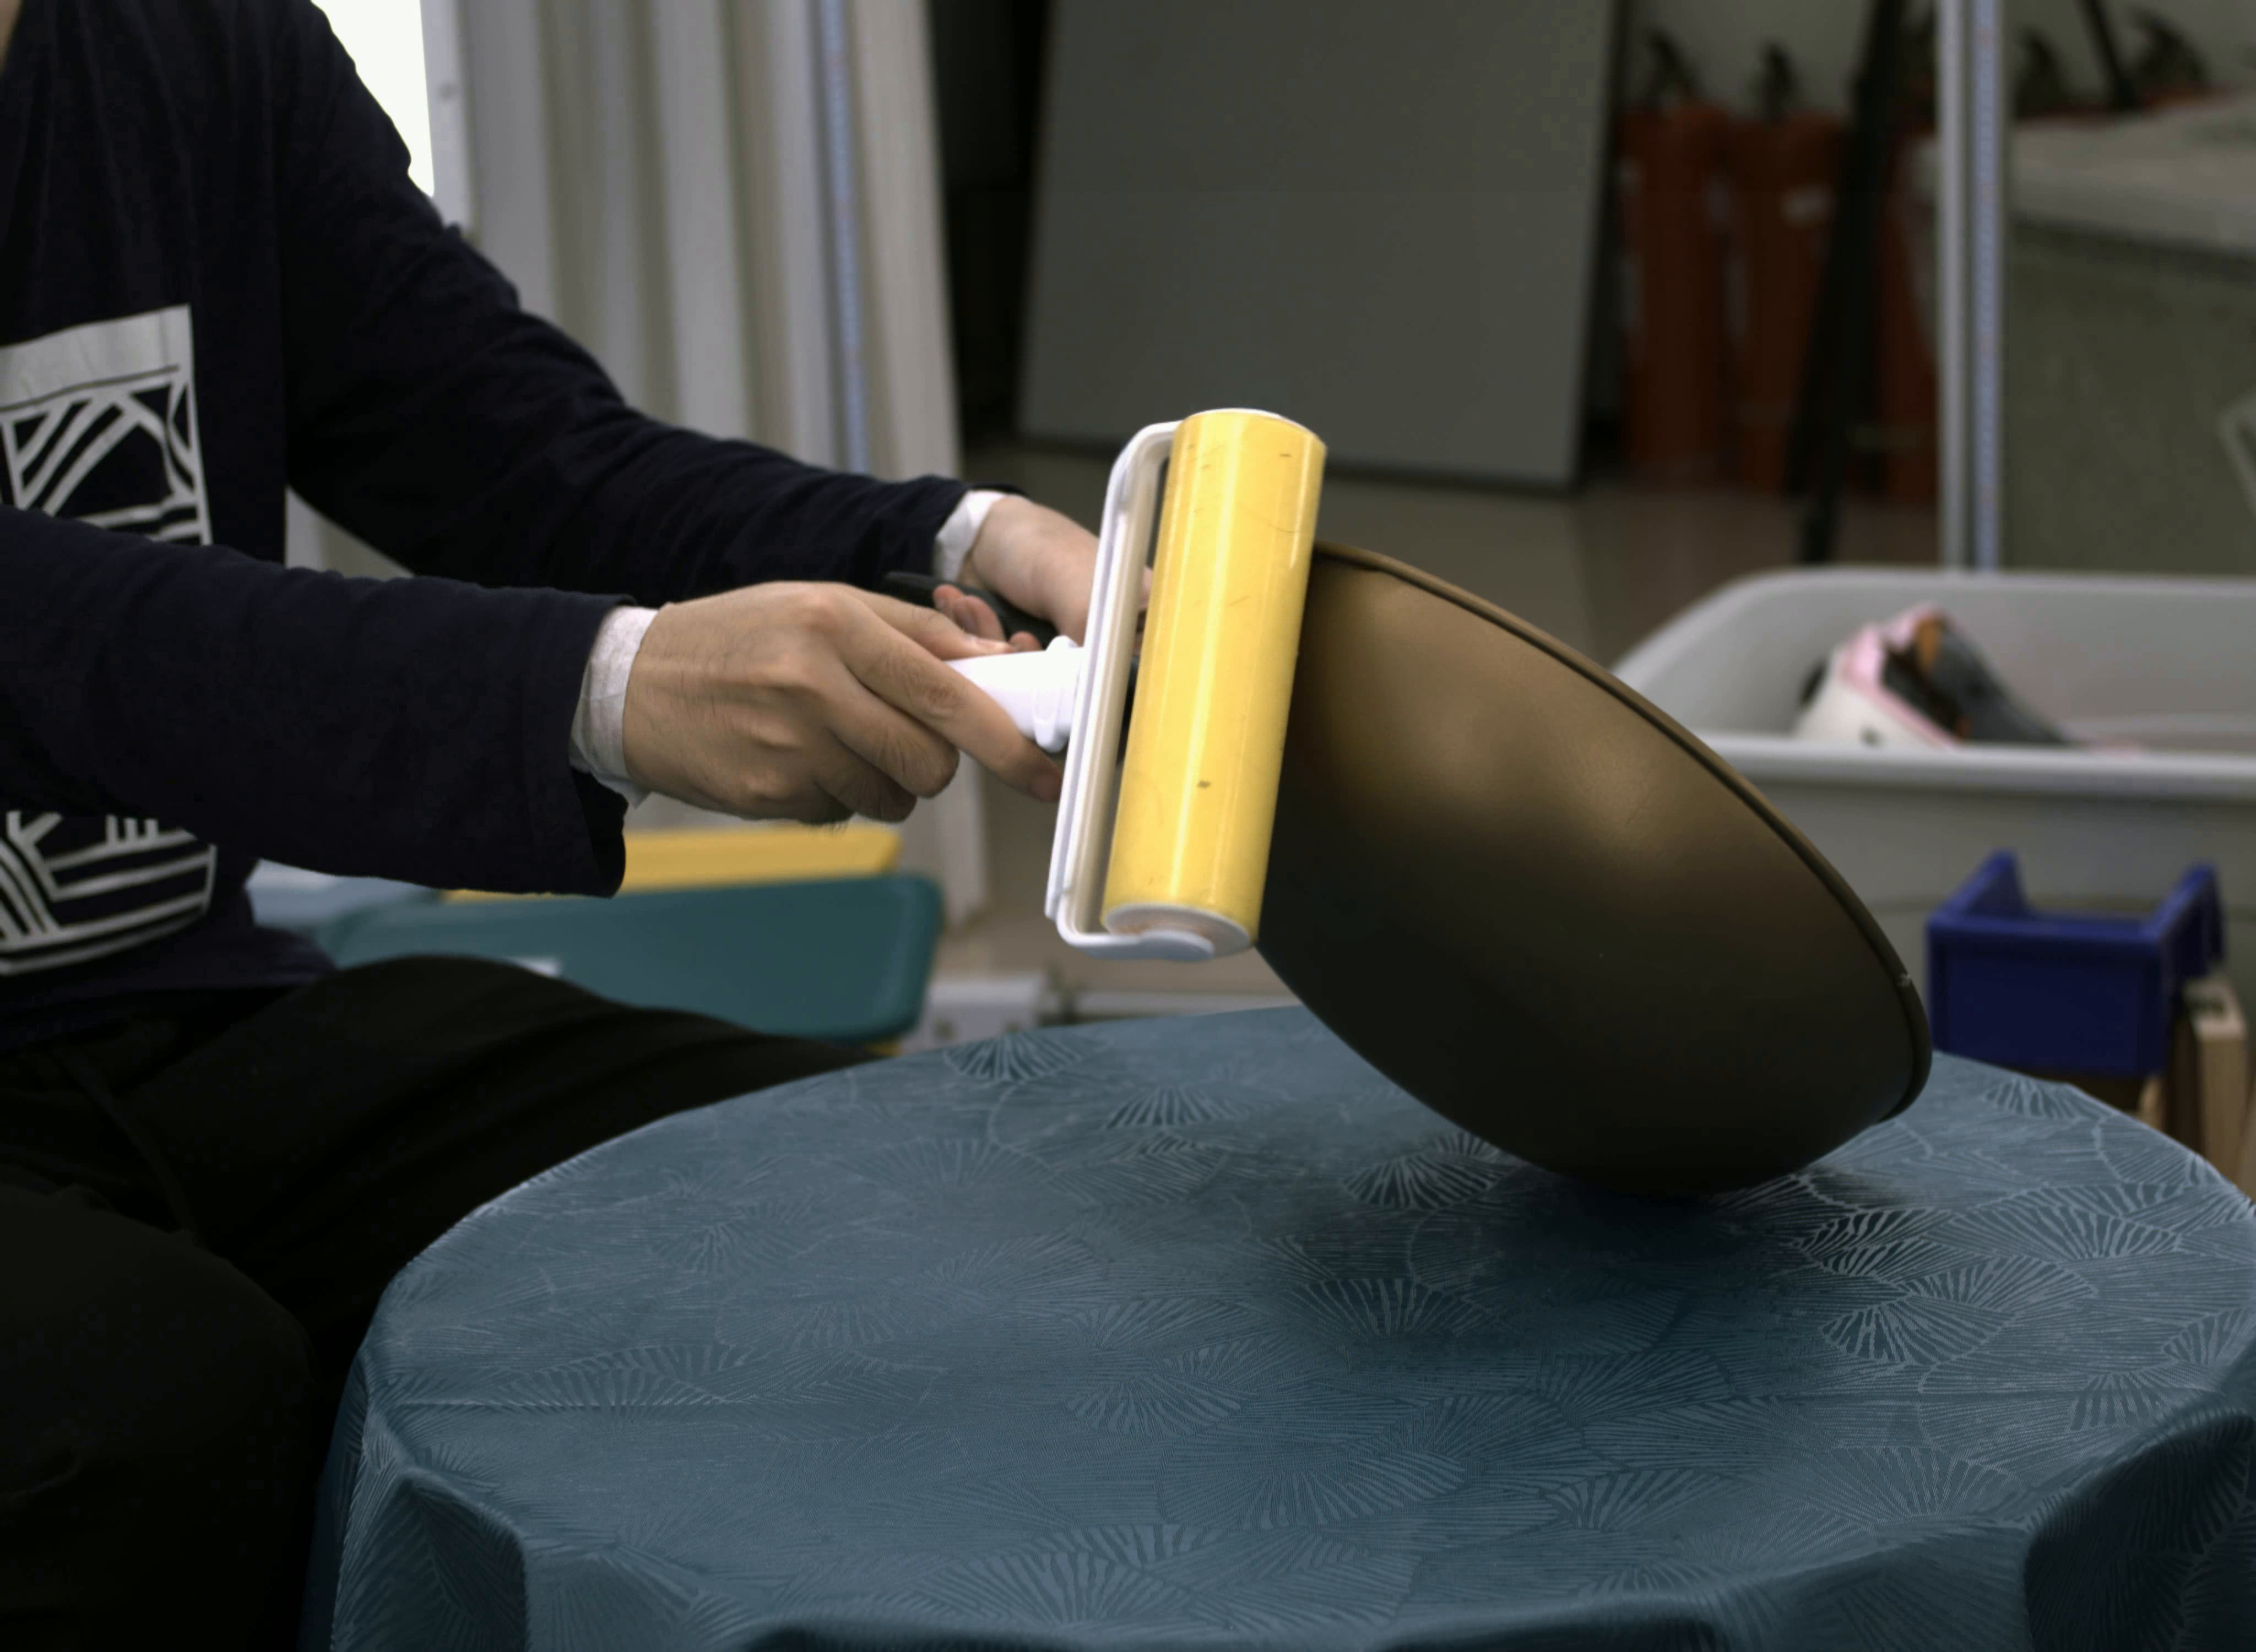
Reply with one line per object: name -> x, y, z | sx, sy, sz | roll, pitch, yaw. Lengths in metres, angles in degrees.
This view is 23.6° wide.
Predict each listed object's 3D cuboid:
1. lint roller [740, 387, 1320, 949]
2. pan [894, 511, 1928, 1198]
lint roller -> -0.039, -0.044, 1.640 | 0.192, 0.176, 0.051 | -2, -24, 23
pan -> 0.052, 0.004, 1.755 | 0.468, 0.286, 0.086 | 21, 64, 45
